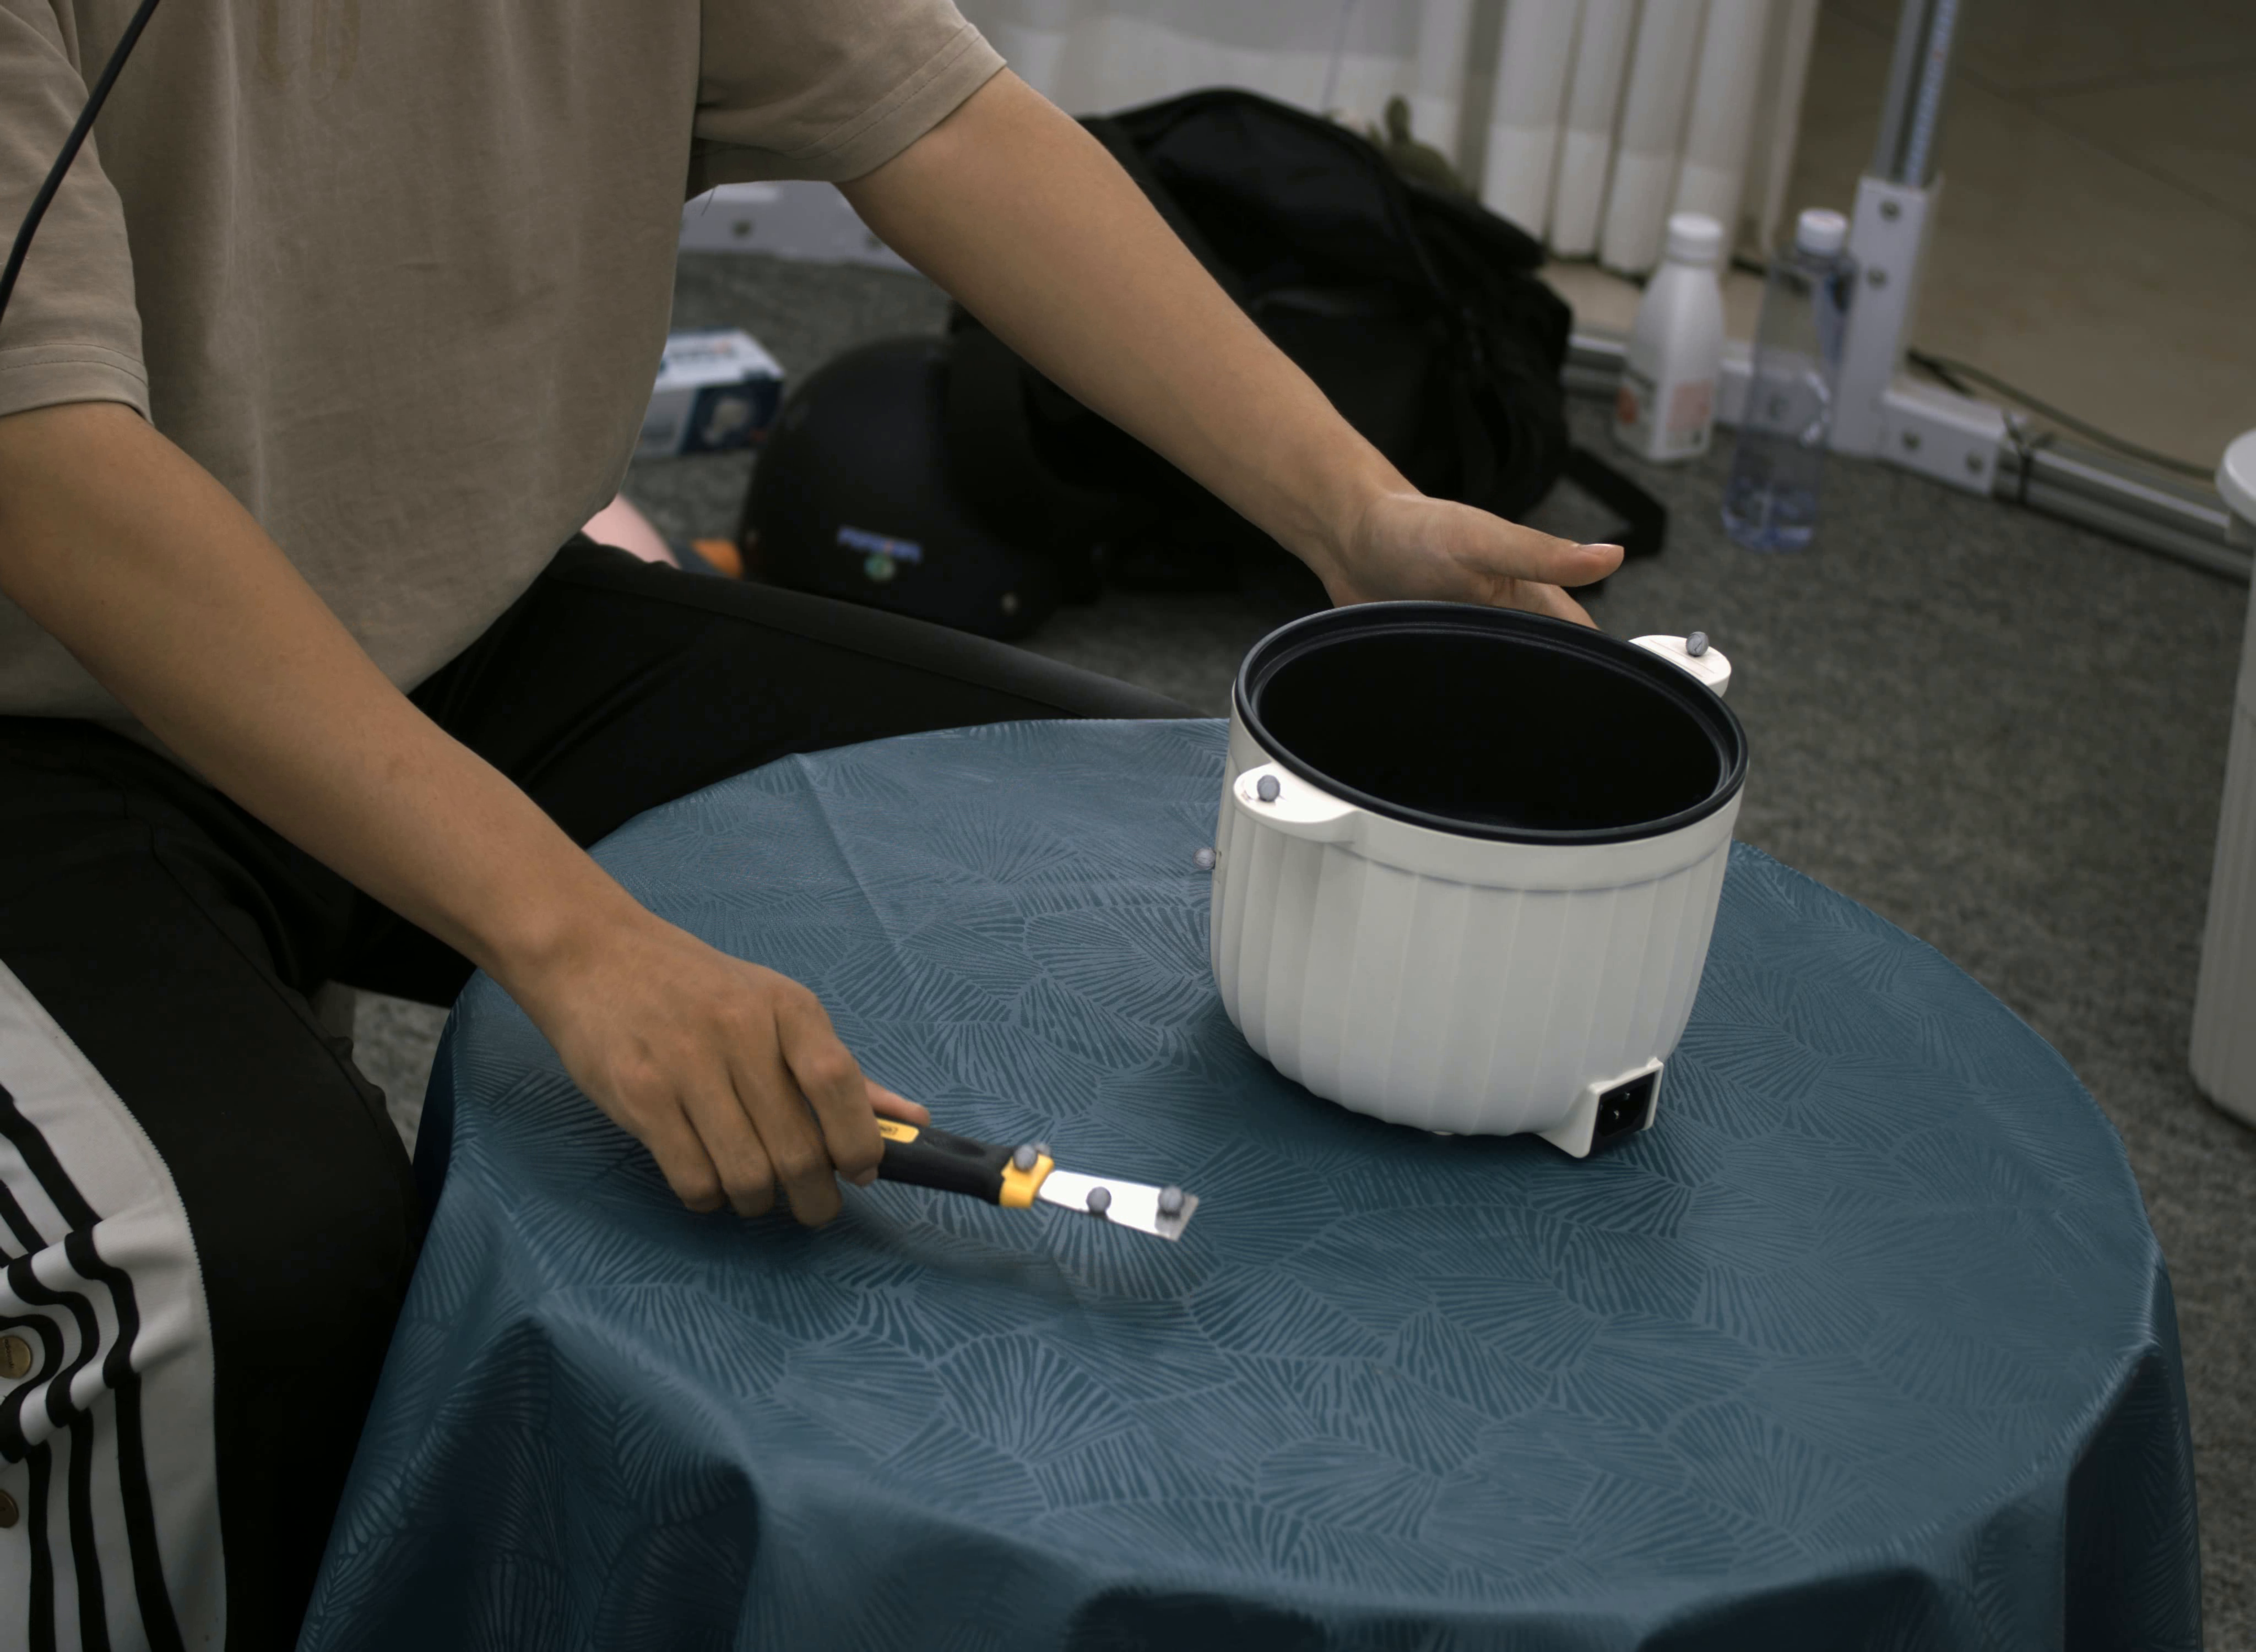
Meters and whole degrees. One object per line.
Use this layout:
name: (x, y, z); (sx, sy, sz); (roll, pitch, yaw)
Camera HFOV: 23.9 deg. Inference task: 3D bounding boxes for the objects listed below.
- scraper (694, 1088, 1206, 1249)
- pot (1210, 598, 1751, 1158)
scraper: (-0.060, 0.112, 1.744); (0.171, 0.015, 0.039); (12, 25, 8)
pot: (0.114, 0.018, 1.887); (0.239, 0.142, 0.192); (-18, 40, -42)
